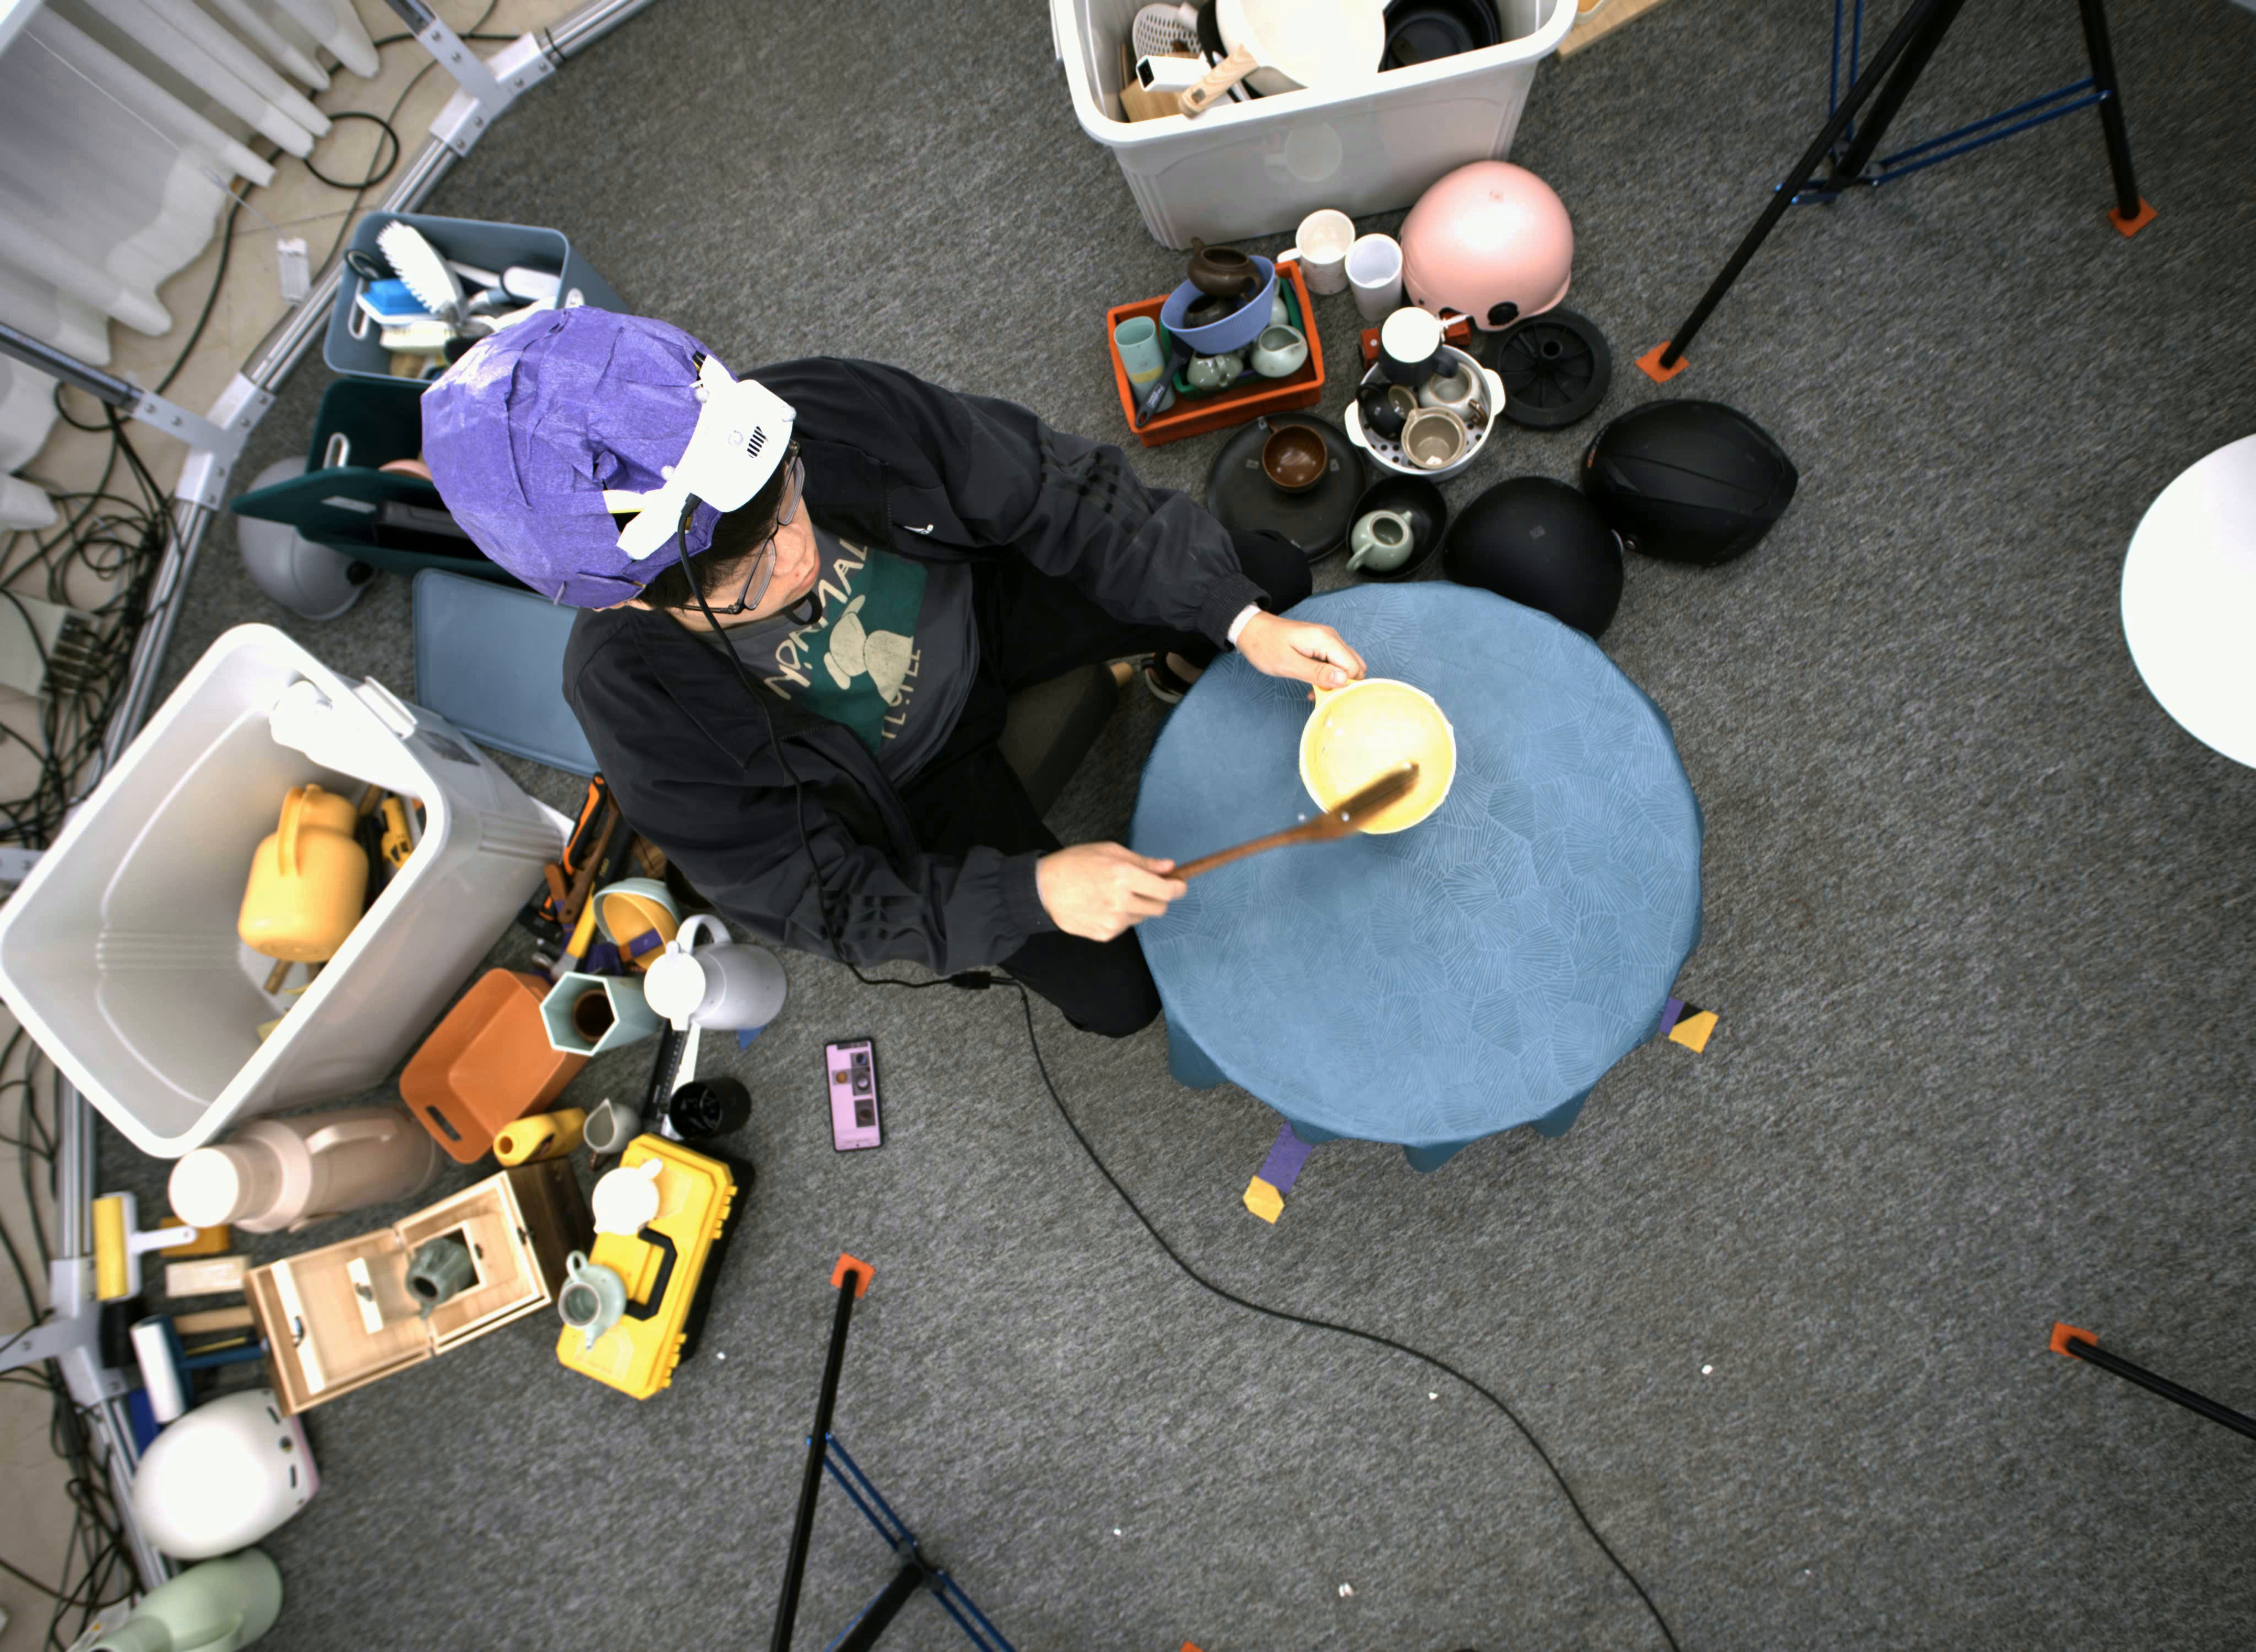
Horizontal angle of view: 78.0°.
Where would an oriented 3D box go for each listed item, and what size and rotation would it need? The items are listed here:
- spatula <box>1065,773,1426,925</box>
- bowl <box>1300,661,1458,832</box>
[{"bbox_3d":[0.108,0.032,1.338,0.391,0.083,0.024,-20,110,21],"label":"spatula"},{"bbox_3d":[0.245,-0.087,1.368,0.155,0.073,0.179,-40,88,21],"label":"bowl"}]
